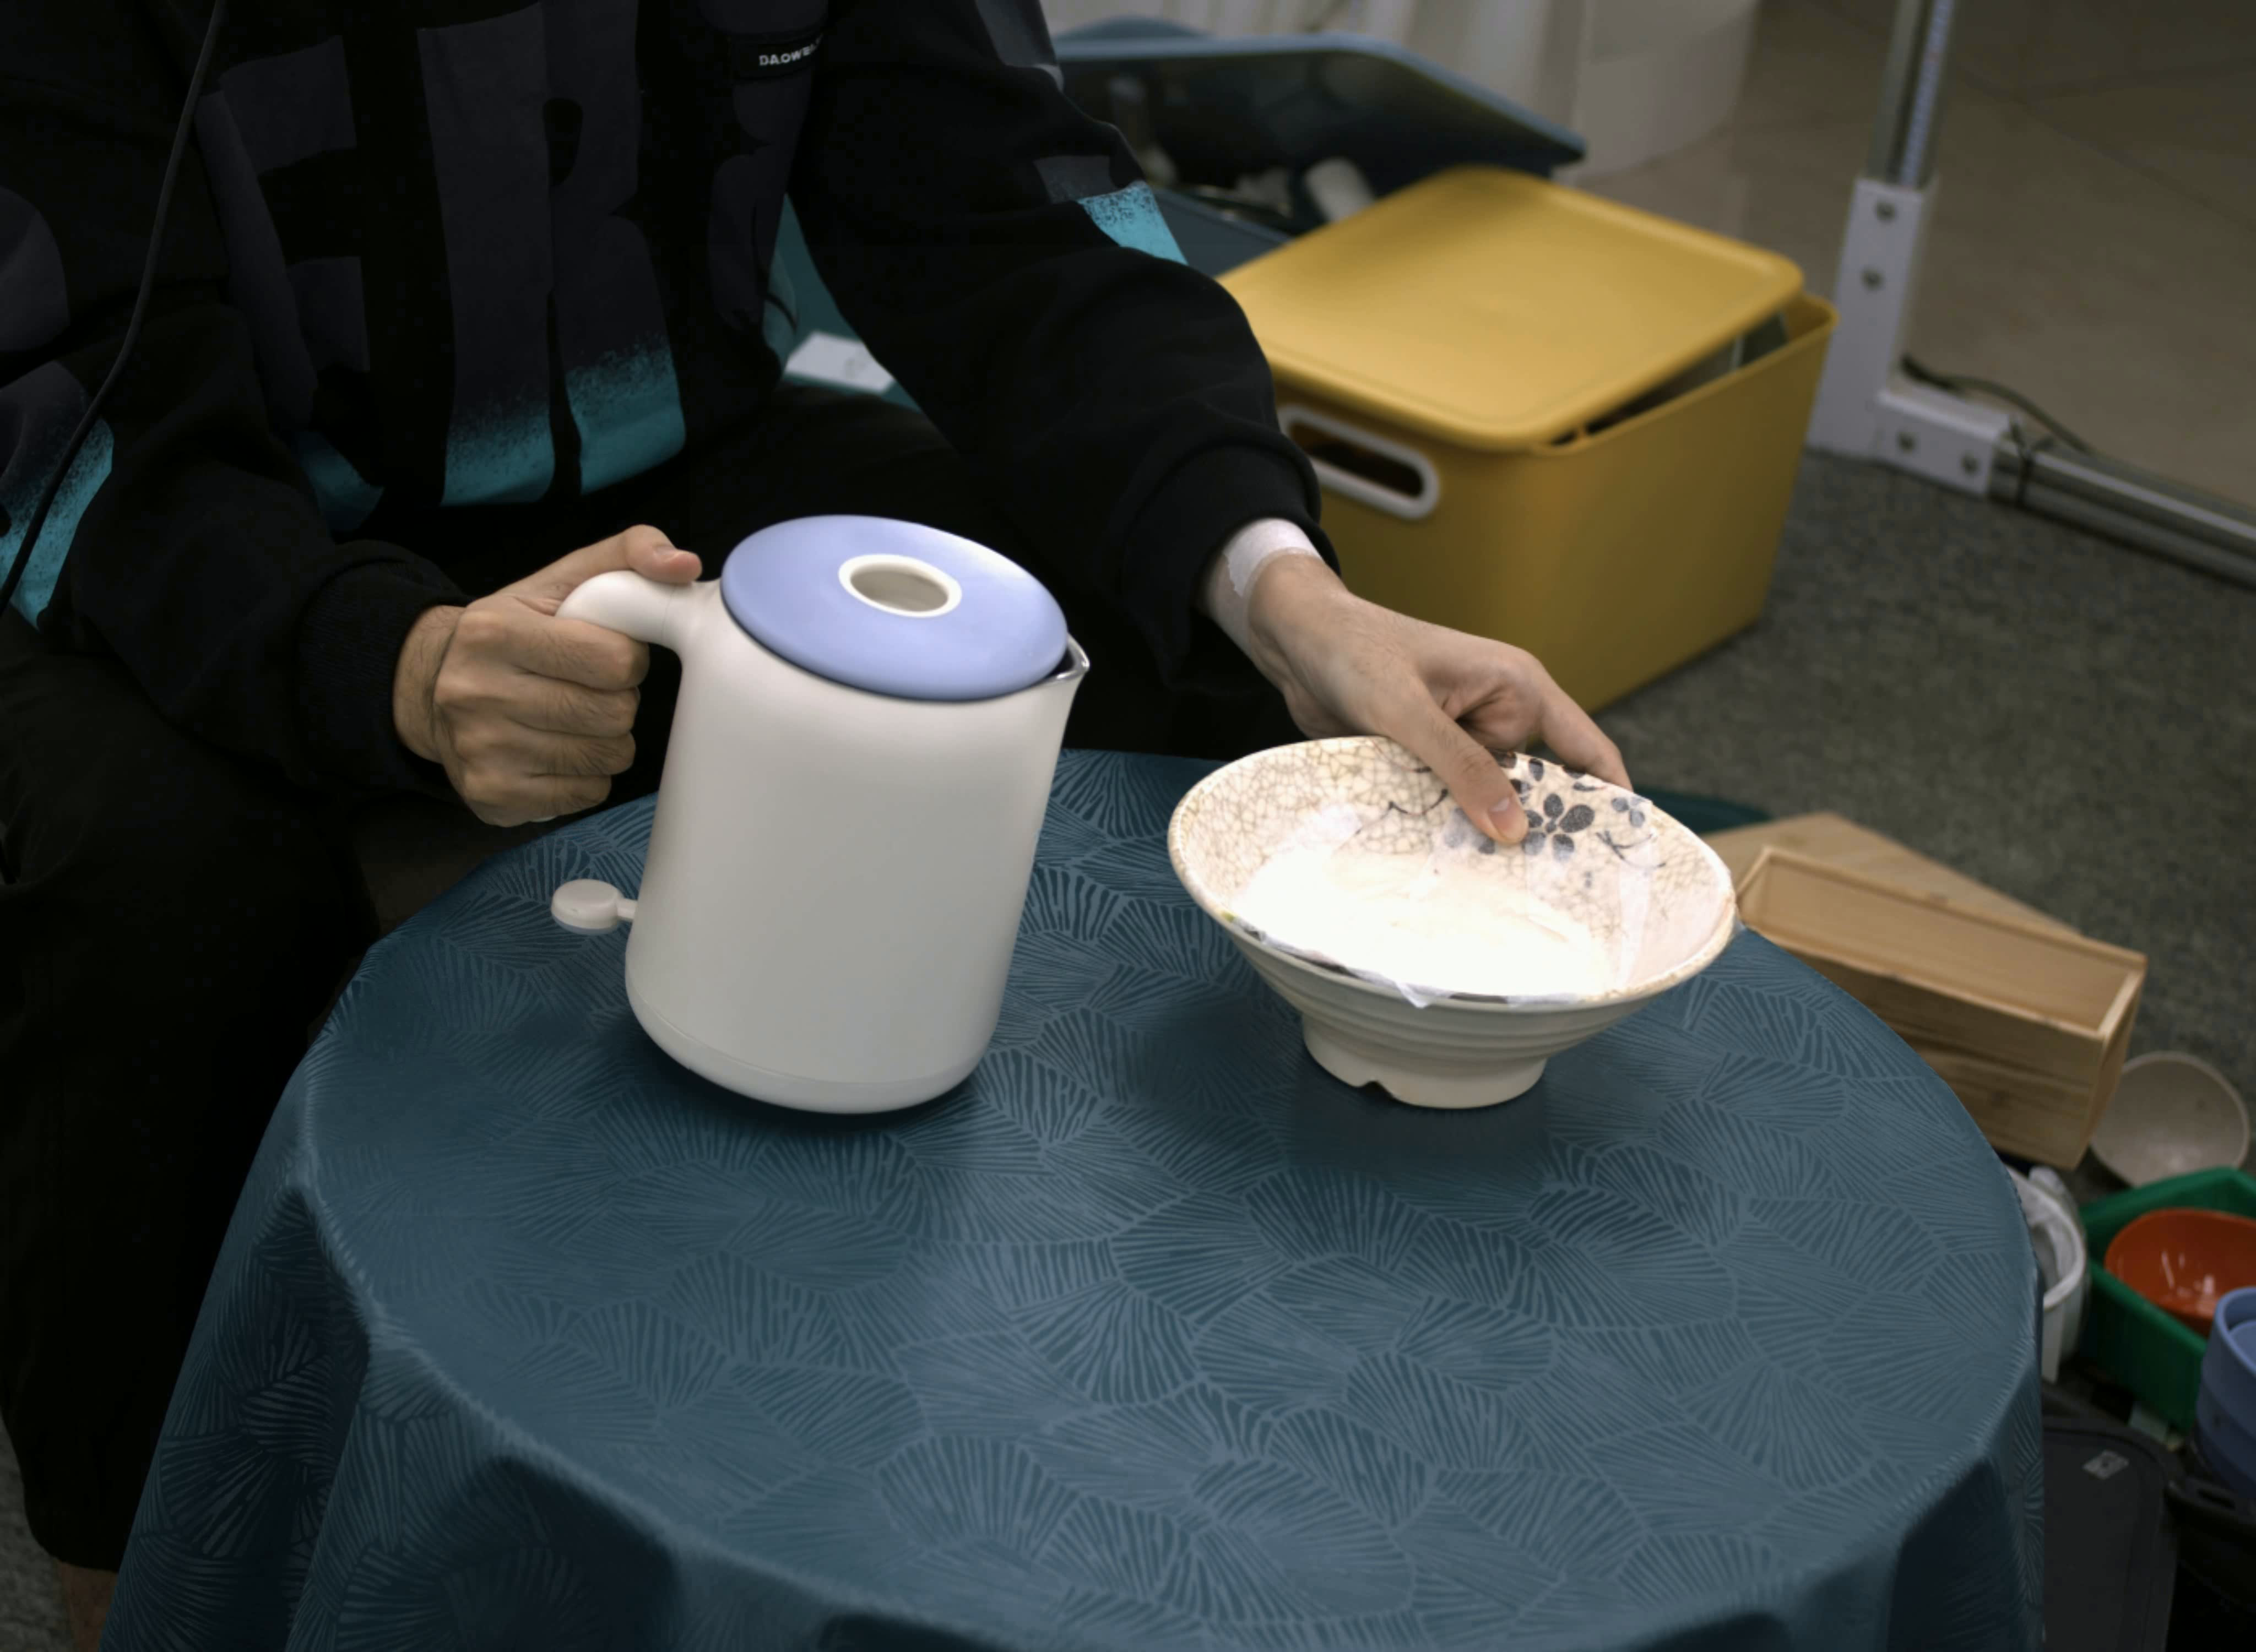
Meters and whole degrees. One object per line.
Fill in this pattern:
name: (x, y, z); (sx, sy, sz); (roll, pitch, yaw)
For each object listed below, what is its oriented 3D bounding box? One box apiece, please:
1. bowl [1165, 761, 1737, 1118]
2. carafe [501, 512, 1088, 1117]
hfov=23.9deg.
bowl: (0.110, 0.050, 1.887); (0.203, 0.078, 0.205); (5, 22, -2)
carafe: (-0.119, -0.010, 1.817); (0.191, 0.182, 0.133); (13, 27, 4)
